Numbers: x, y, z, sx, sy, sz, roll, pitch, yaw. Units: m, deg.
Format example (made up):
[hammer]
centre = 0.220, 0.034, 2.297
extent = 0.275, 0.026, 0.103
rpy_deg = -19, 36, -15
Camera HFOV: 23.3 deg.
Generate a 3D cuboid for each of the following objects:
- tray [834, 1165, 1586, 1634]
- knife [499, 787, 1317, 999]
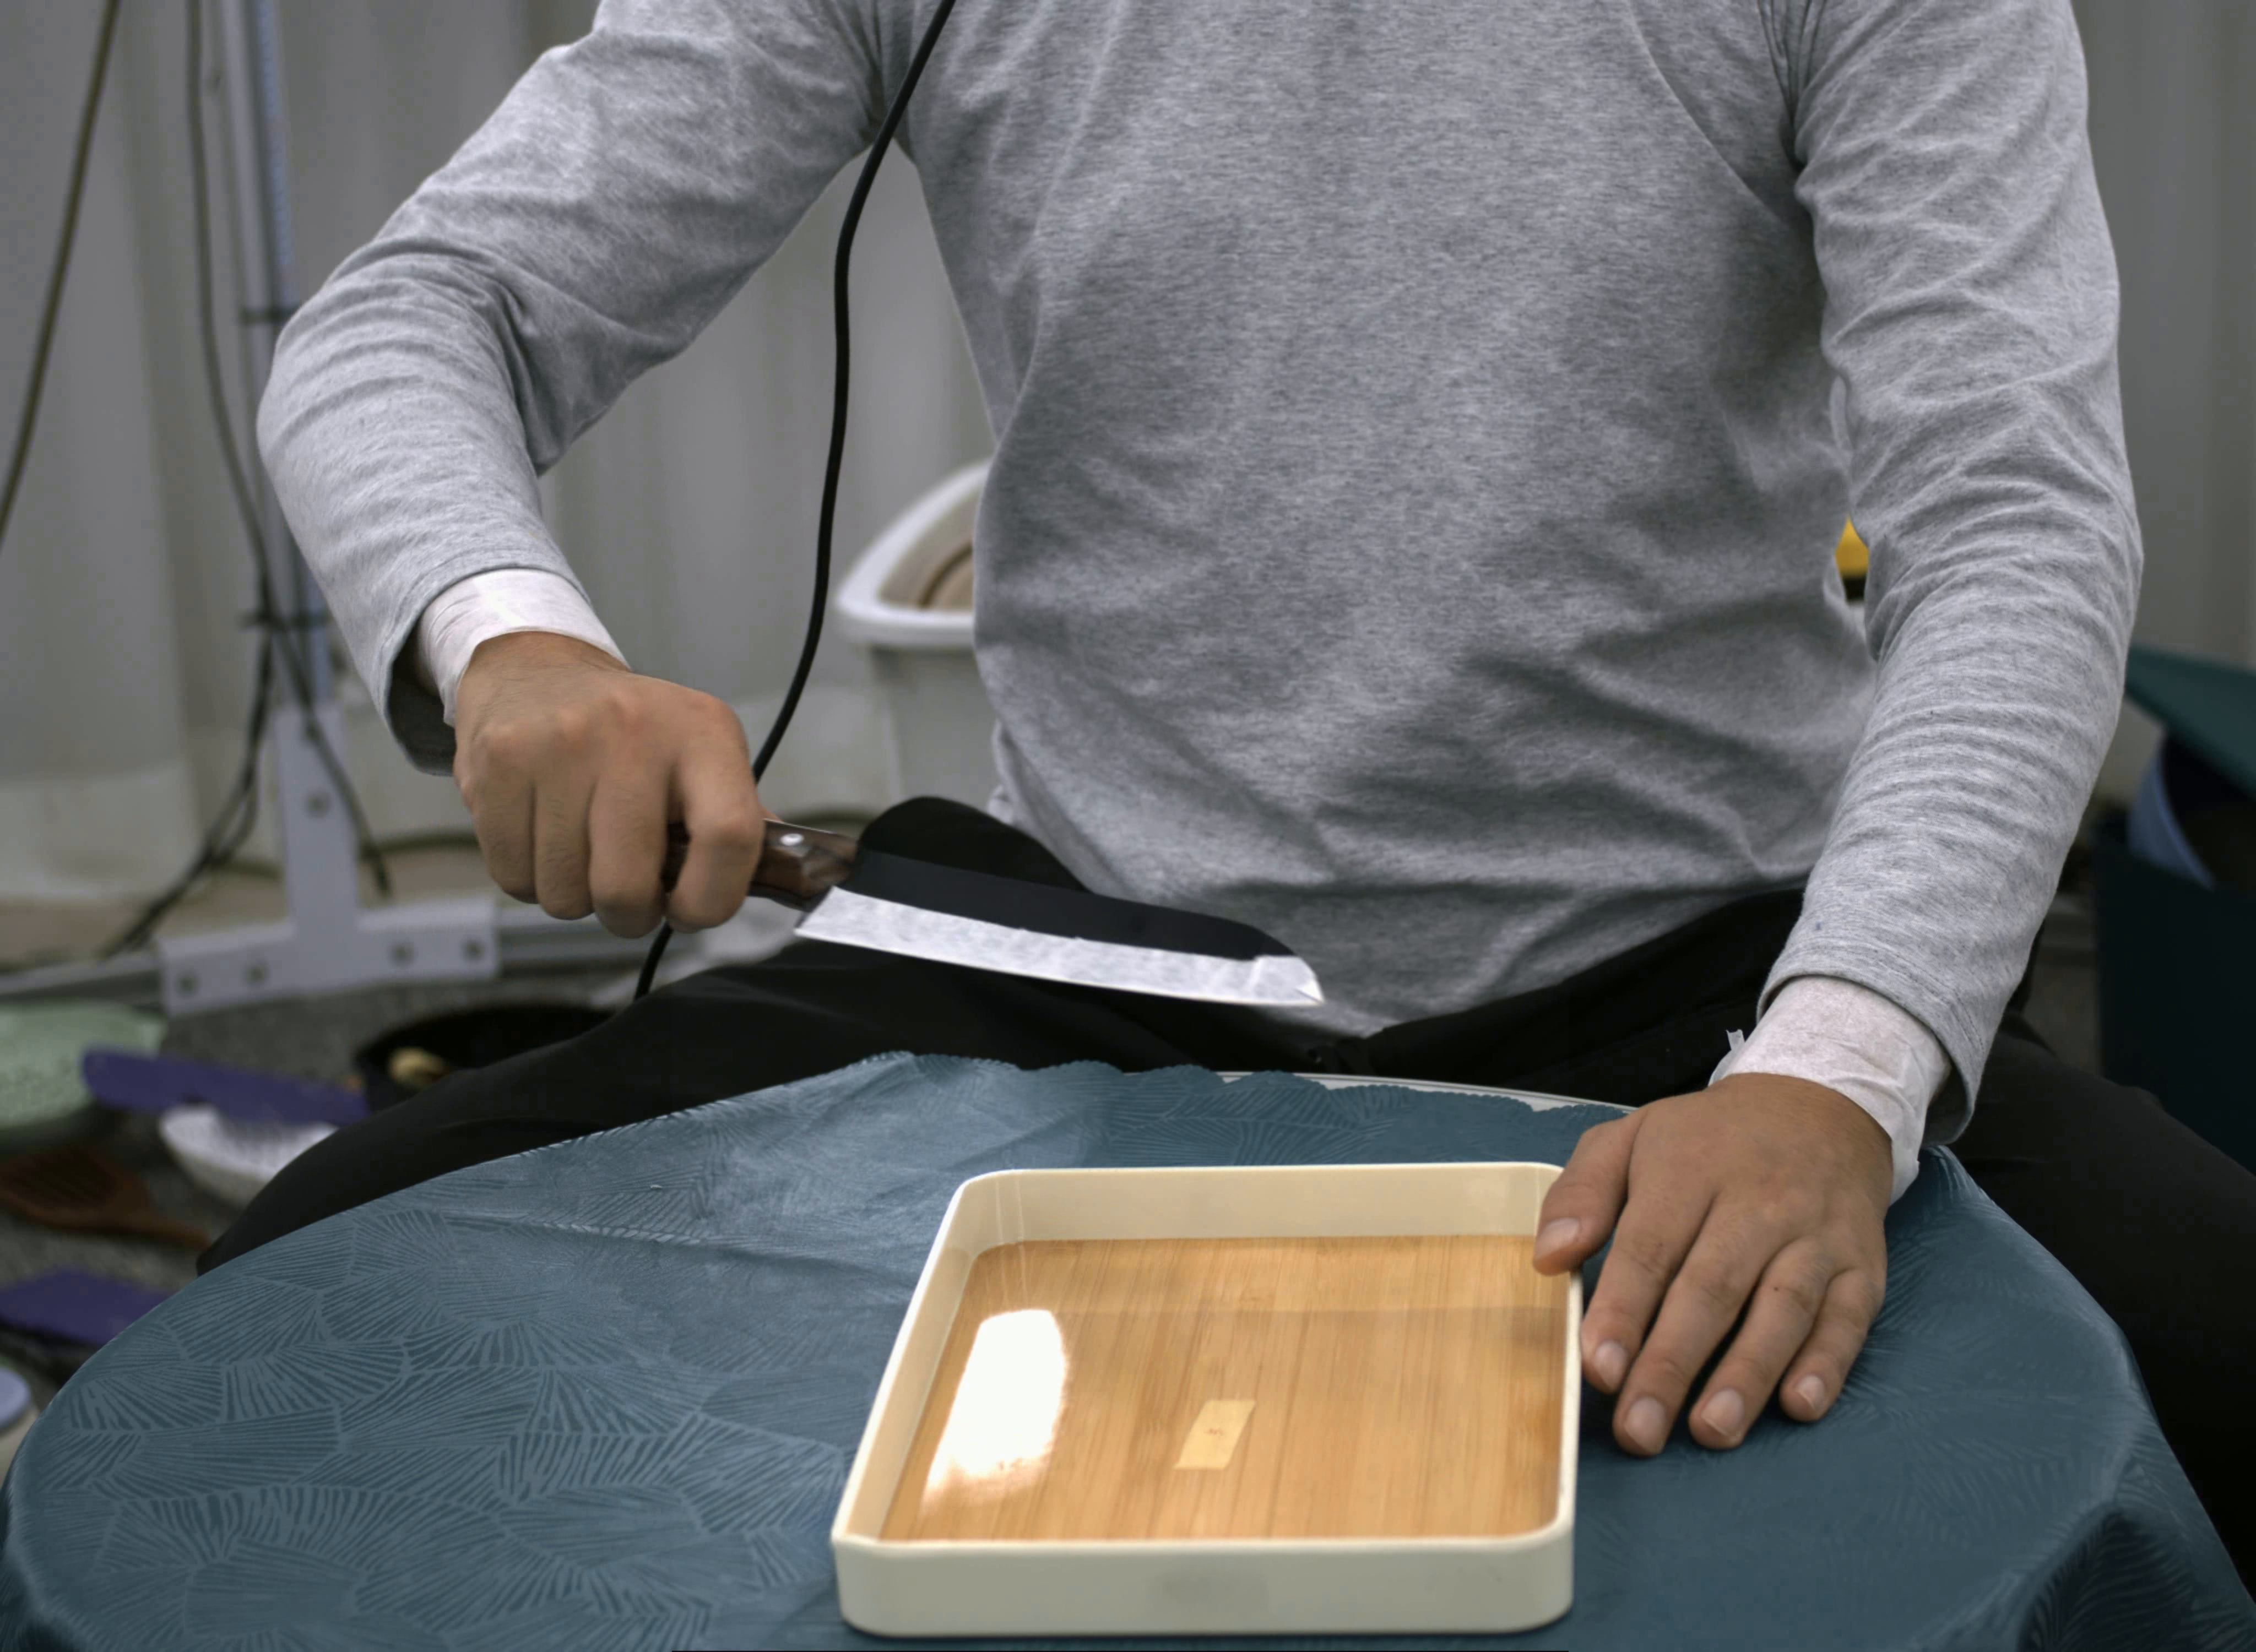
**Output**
[tray]
centre = 0.031, 0.154, 1.512
extent = 0.191, 0.027, 0.302
rpy_deg = -1, 15, 6
[knife]
centre = -0.069, 0.021, 1.608
extent = 0.290, 0.020, 0.050
rpy_deg = 11, 39, 30
